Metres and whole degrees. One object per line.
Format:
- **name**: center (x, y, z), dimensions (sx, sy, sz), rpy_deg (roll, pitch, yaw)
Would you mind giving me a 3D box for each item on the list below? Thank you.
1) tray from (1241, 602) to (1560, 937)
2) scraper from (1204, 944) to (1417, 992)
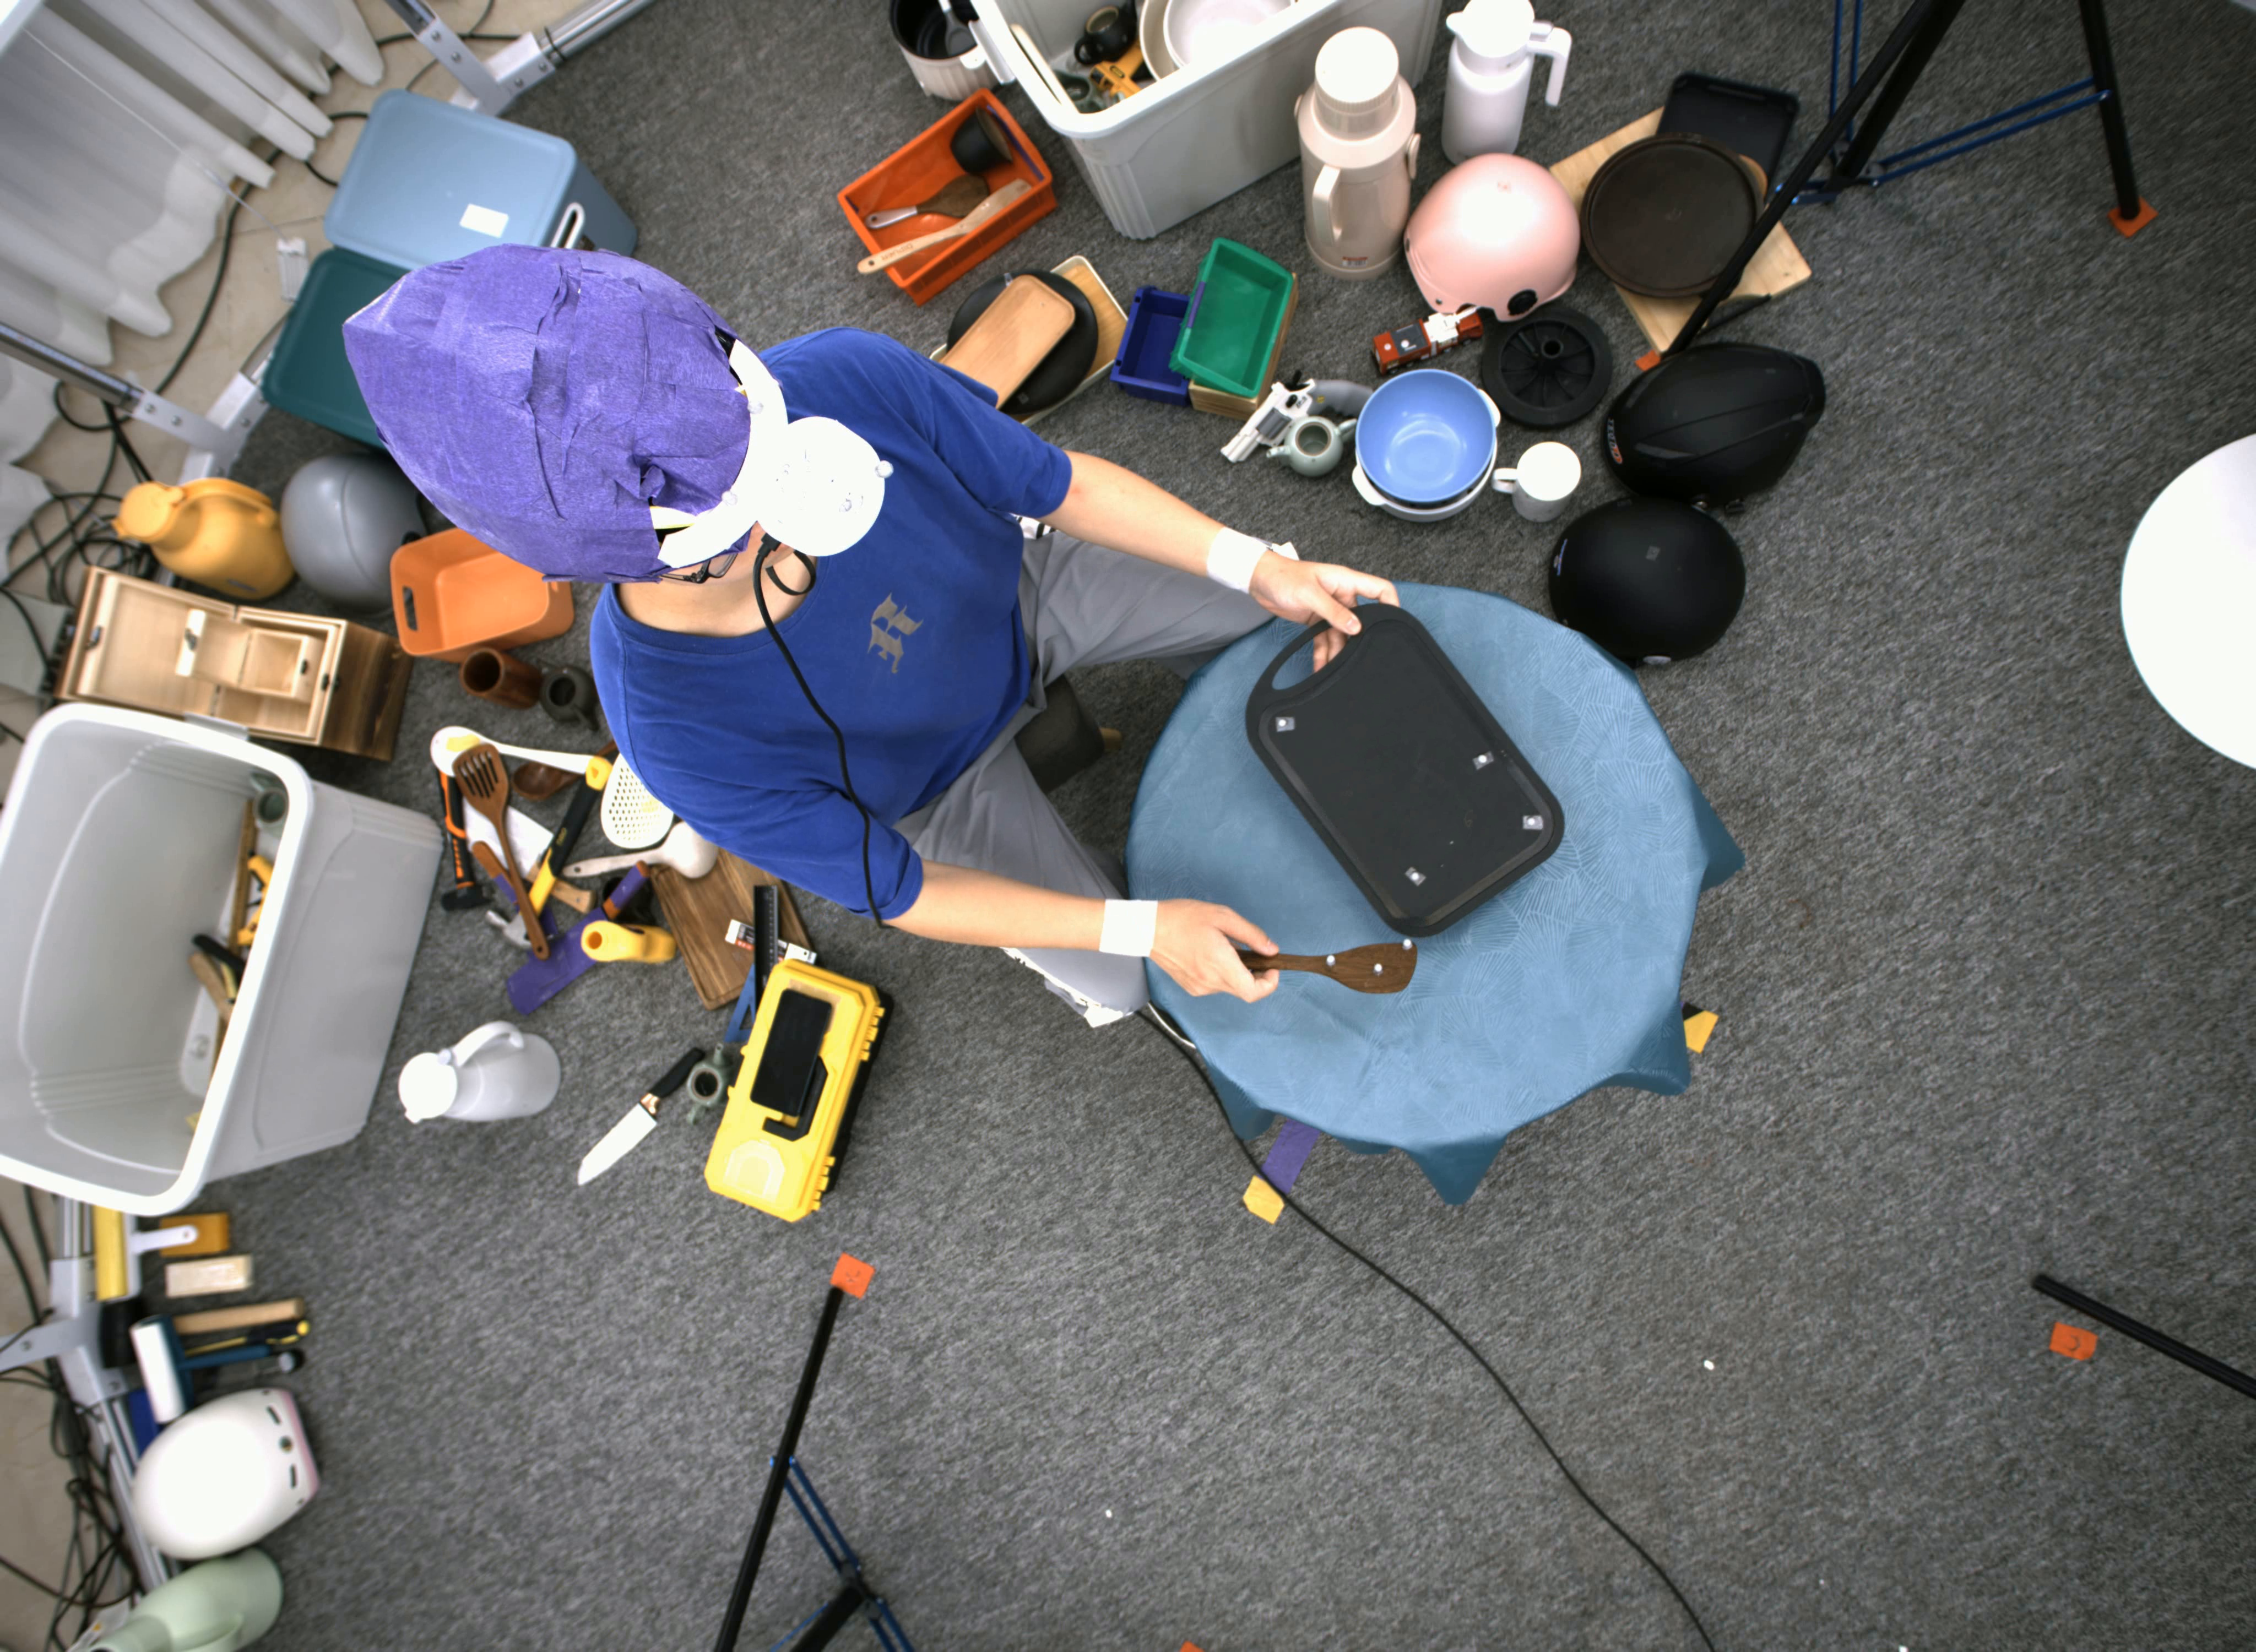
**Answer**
- **tray**: center (0.261, -0.061, 1.364), dimensions (0.214, 0.009, 0.325), rpy_deg (-37, 89, 21)
- **scraper**: center (0.175, 0.134, 1.351), dimensions (0.212, 0.074, 0.011), rpy_deg (1, 121, 24)
